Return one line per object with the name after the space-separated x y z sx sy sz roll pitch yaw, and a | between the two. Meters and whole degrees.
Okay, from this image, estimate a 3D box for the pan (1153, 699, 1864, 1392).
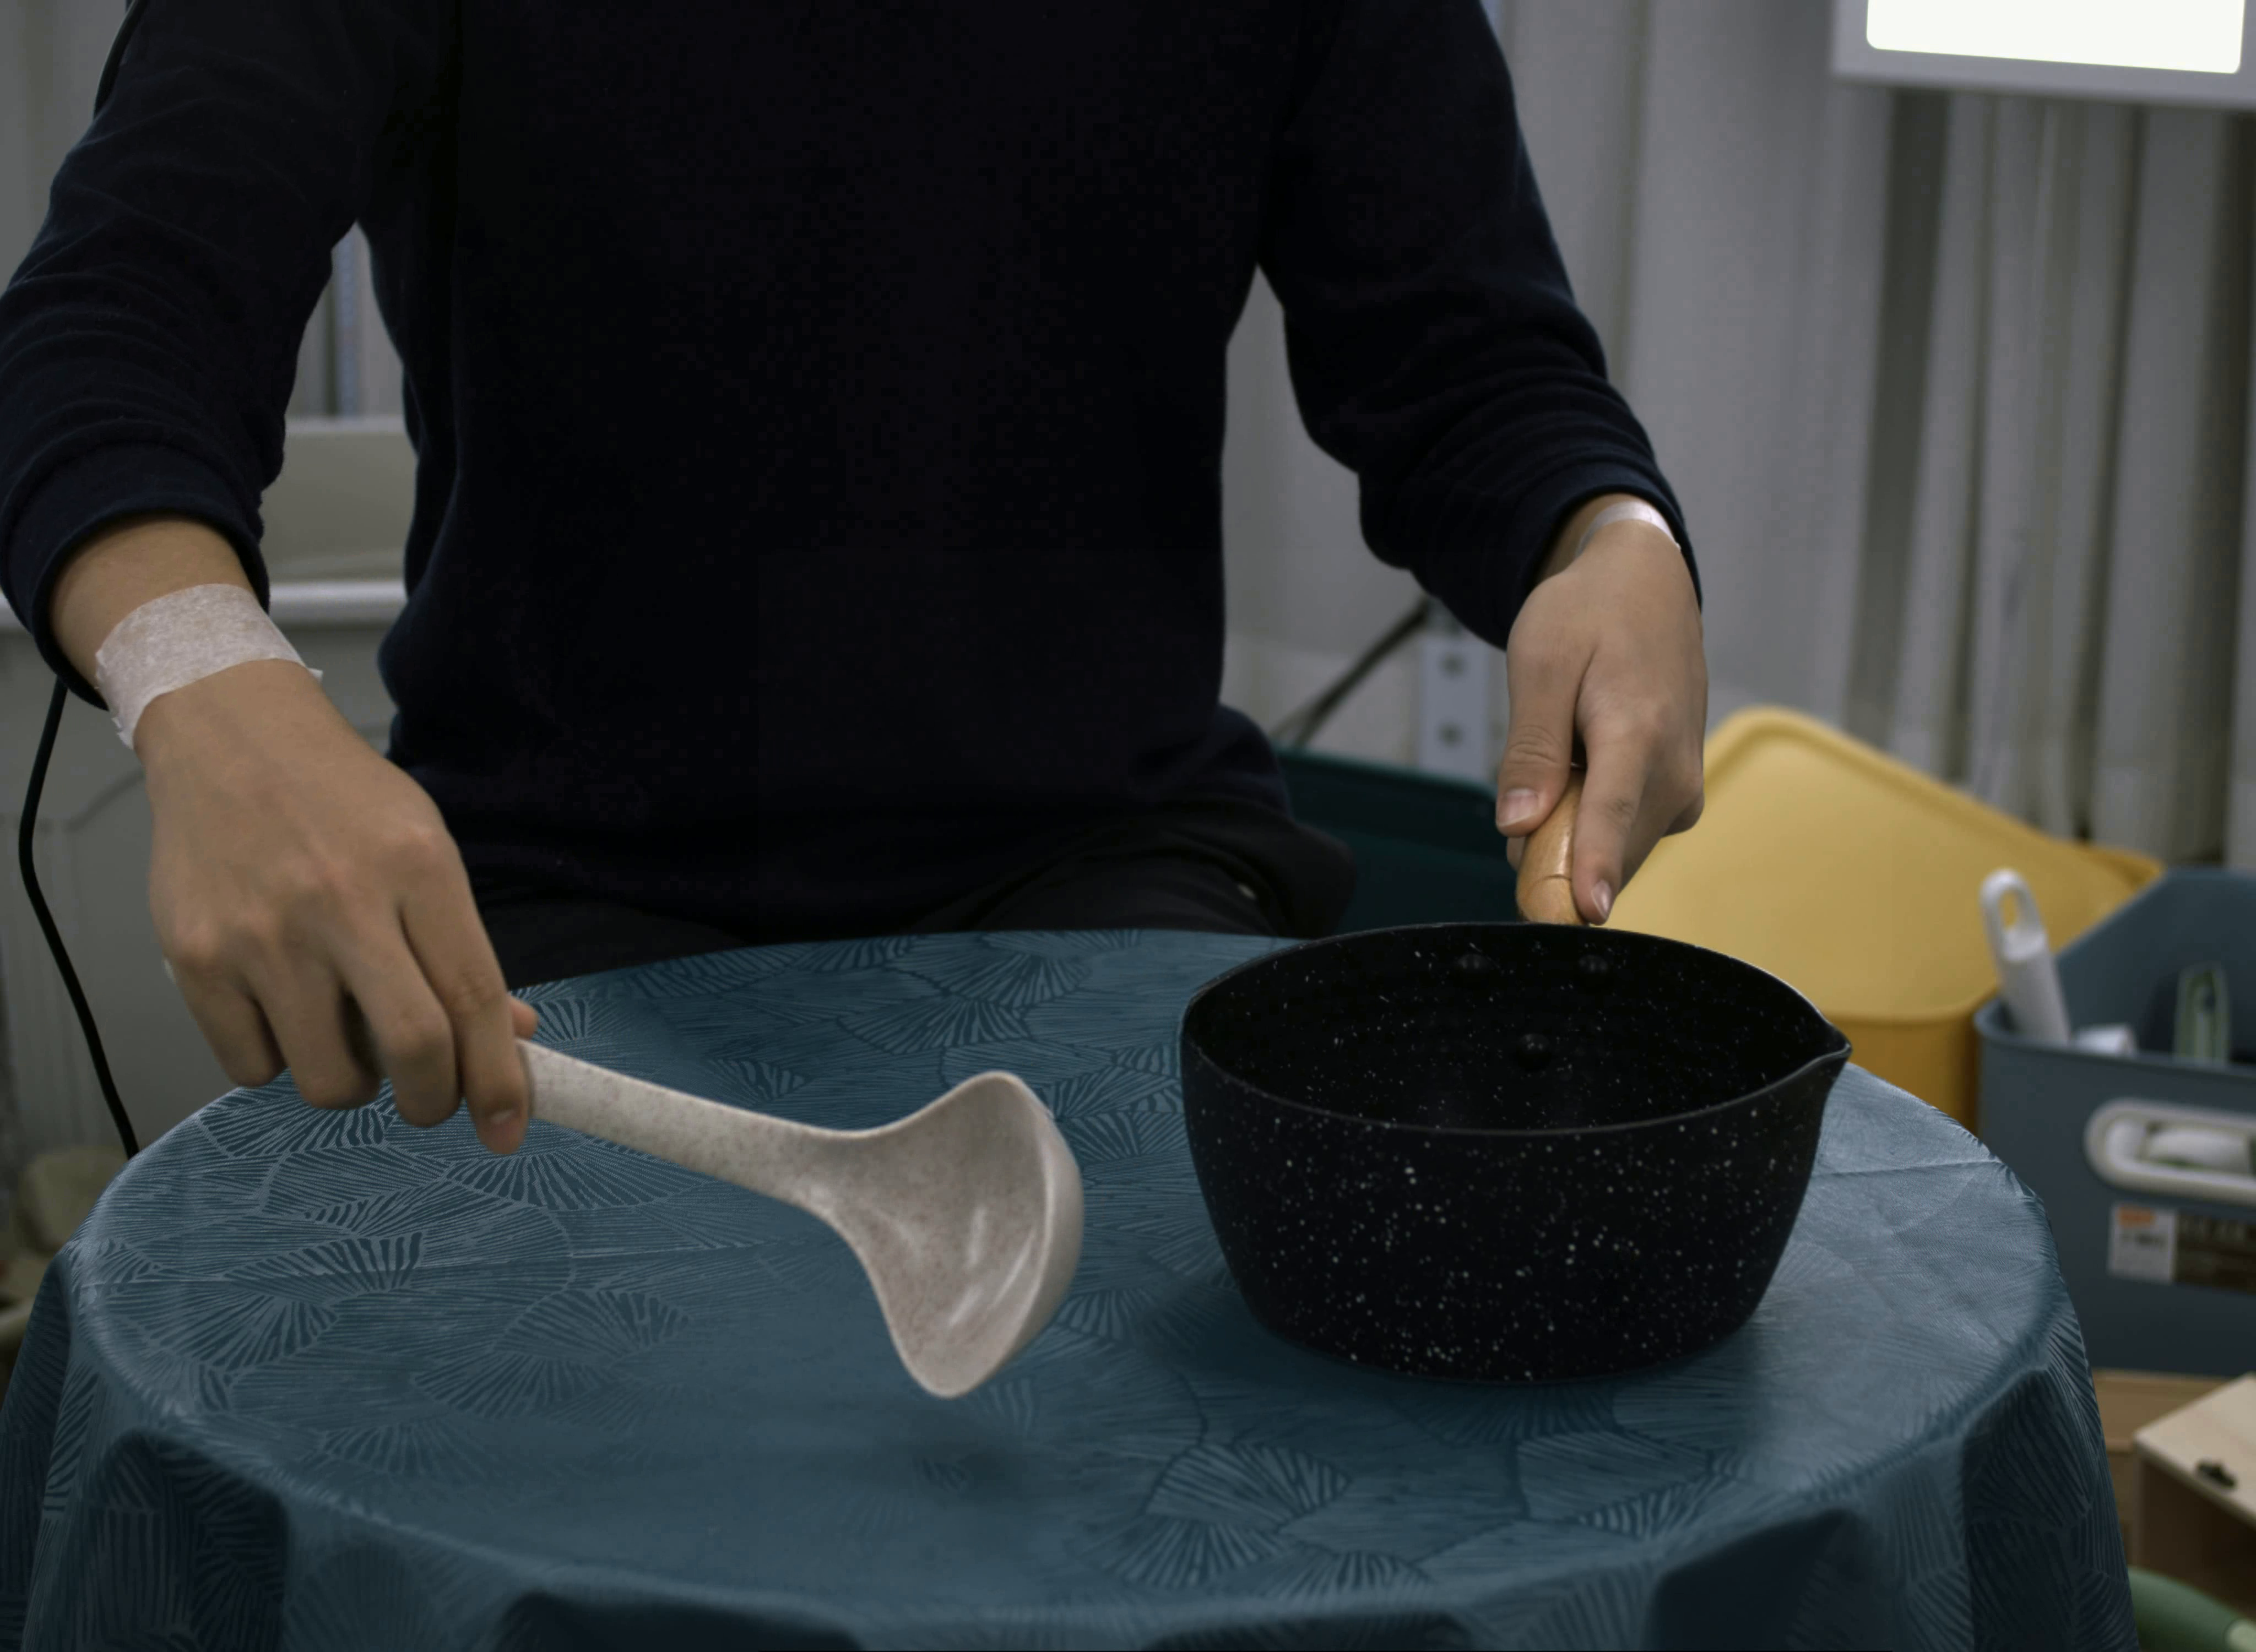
0.120 0.061 1.595 0.206 0.109 0.341 2 19 9 | pan

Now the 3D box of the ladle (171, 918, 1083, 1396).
-0.143 0.076 1.416 0.273 0.090 0.069 17 14 8 | ladle
